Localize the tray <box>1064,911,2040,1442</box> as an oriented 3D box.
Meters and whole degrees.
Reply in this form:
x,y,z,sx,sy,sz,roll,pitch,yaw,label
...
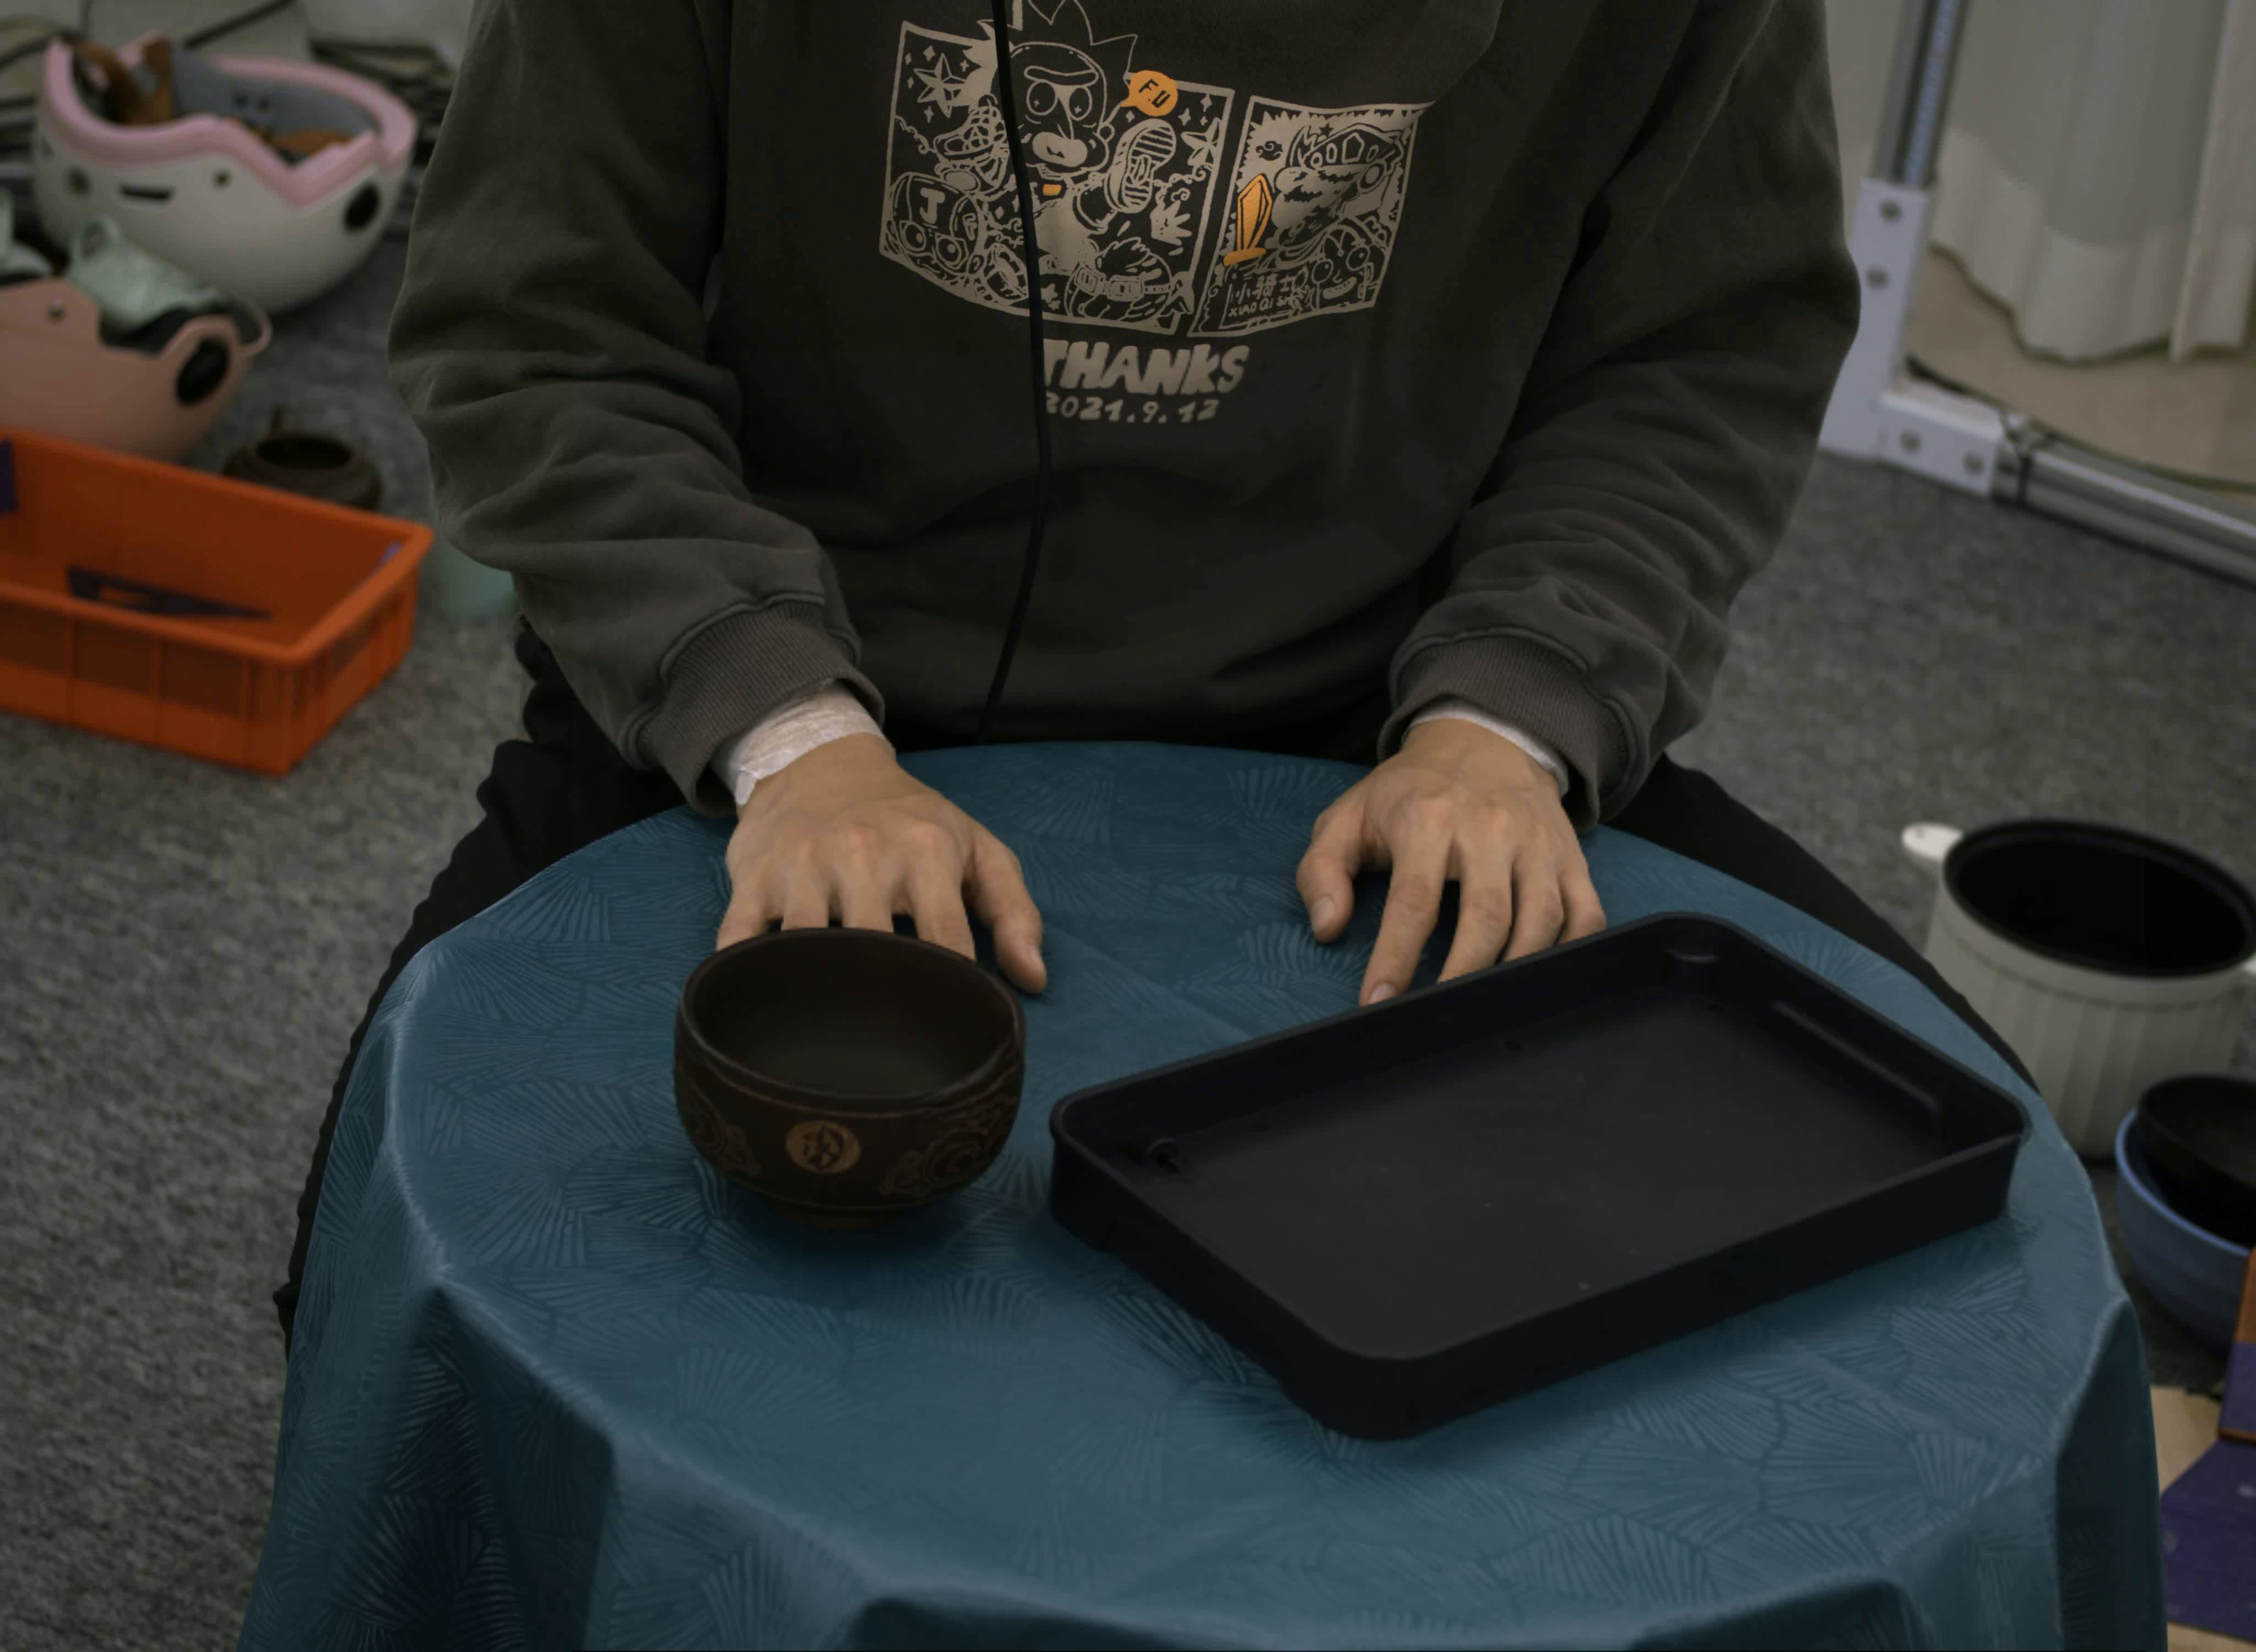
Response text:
x,y,z,sx,sy,sz,roll,pitch,yaw,label
0.146,0.113,1.818,0.316,0.037,0.186,-16,34,-37,tray

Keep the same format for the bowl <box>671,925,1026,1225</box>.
x,y,z,sx,sy,sz,roll,pitch,yaw,label
-0.094,0.089,1.771,0.117,0.069,0.119,5,25,-3,bowl
